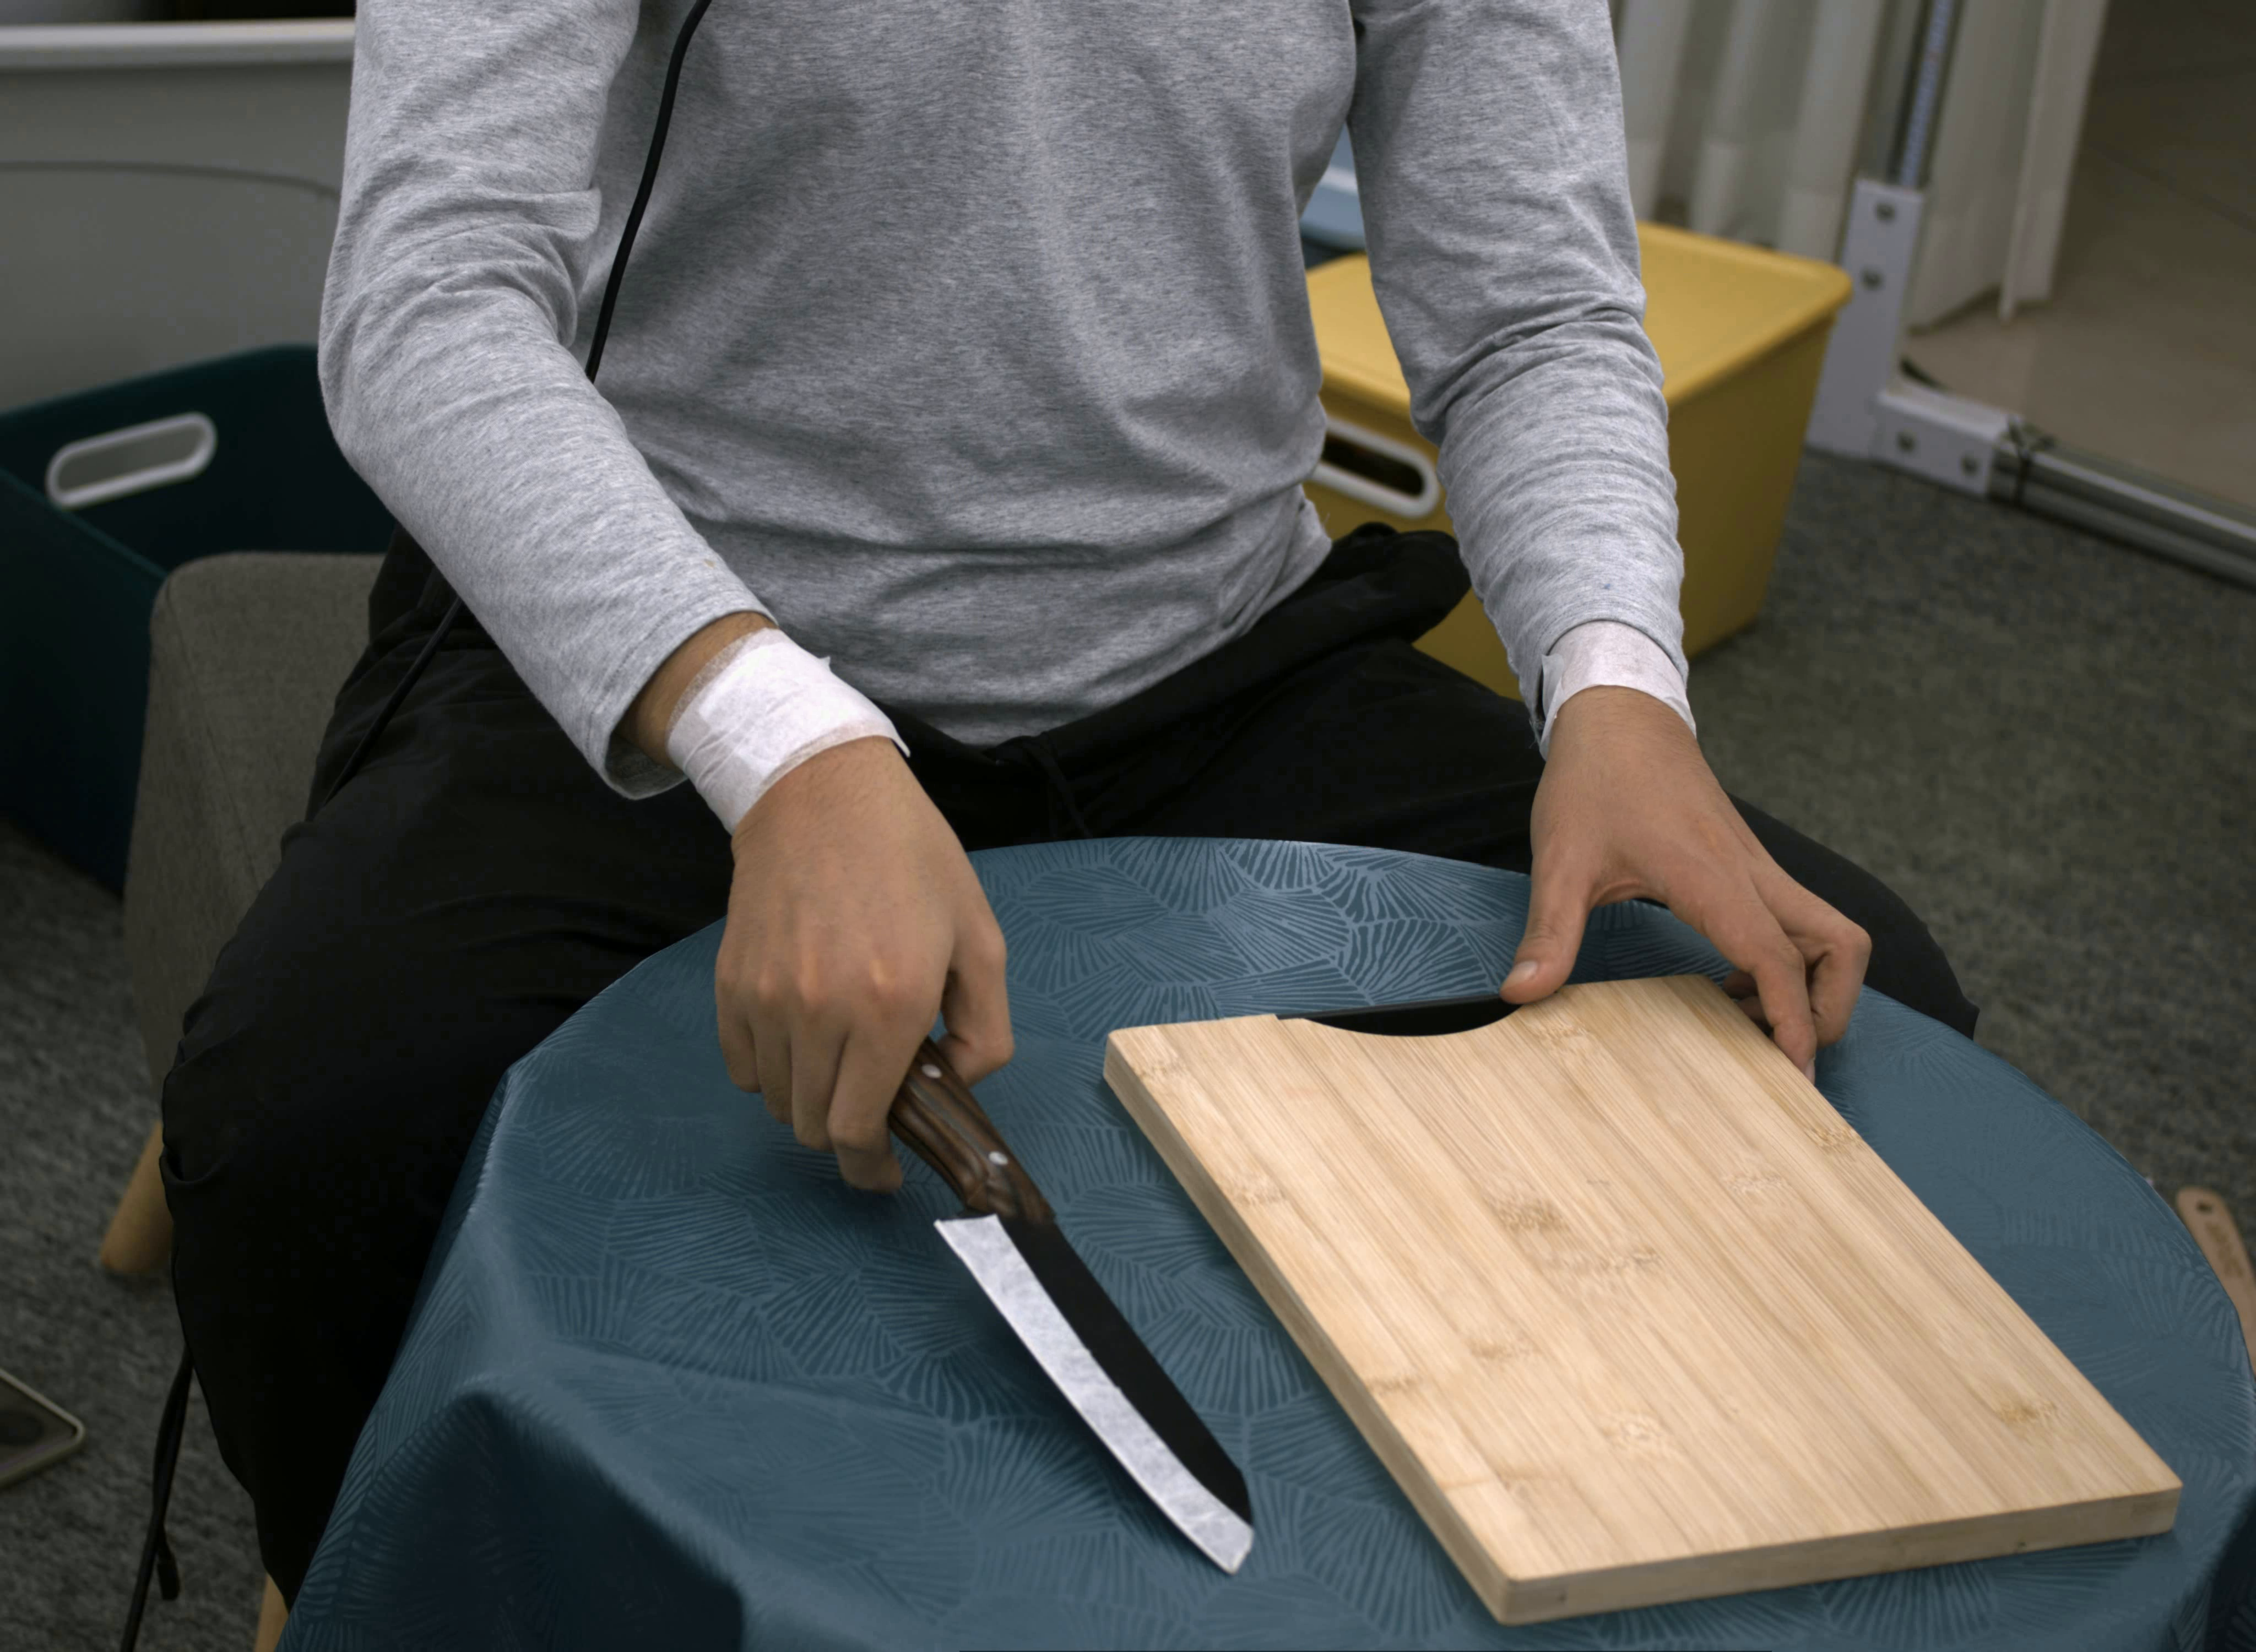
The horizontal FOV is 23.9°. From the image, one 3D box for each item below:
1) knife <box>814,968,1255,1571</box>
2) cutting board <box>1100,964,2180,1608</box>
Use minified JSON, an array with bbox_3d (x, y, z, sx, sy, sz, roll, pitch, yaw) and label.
[{"bbox_3d":[-0.032,0.140,1.708,0.050,0.020,0.292,-1,37,-33],"label":"knife"},{"bbox_3d":[0.161,0.146,1.781,0.249,0.023,0.352,-5,29,-22],"label":"cutting board"}]
